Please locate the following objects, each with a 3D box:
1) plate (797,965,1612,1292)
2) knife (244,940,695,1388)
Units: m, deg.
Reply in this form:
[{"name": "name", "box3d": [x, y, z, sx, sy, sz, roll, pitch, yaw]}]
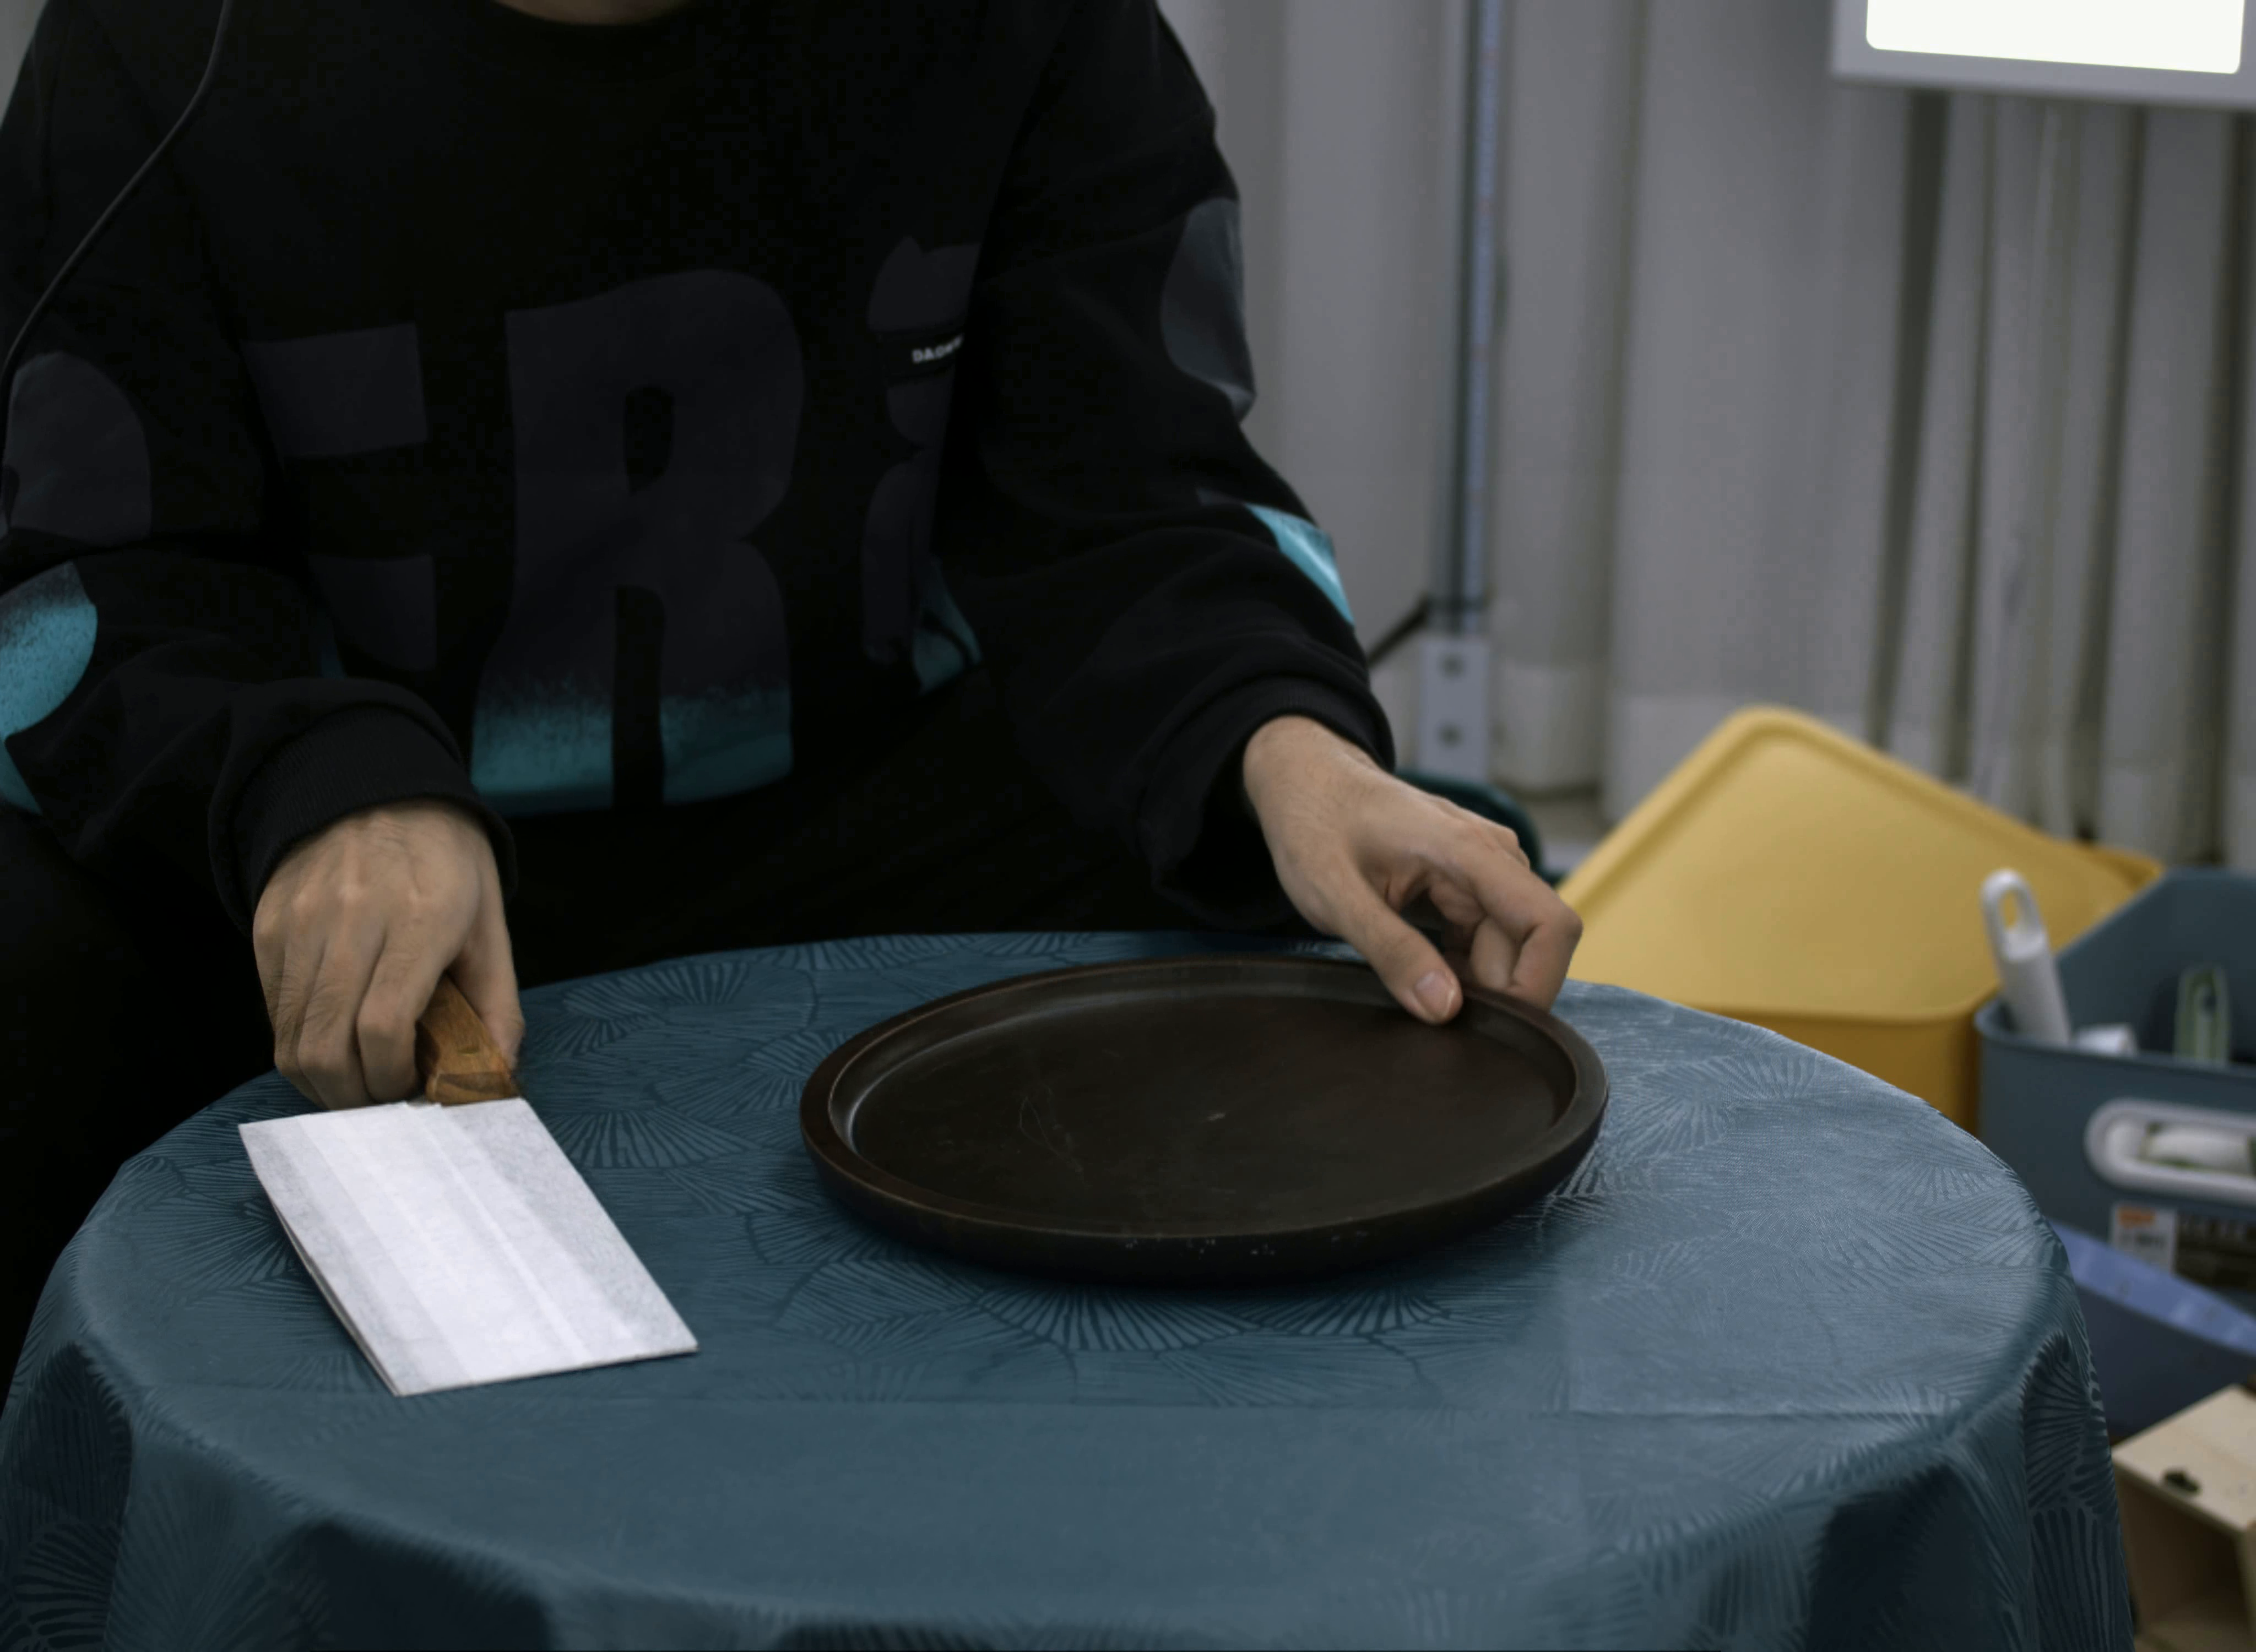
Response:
[{"name": "plate", "box3d": [0.023, 0.091, 1.639, 0.254, 0.029, 0.253, -2, 18, 1]}, {"name": "knife", "box3d": [-0.216, 0.100, 1.599, 0.093, 0.021, 0.302, -7, 23, -21]}]
